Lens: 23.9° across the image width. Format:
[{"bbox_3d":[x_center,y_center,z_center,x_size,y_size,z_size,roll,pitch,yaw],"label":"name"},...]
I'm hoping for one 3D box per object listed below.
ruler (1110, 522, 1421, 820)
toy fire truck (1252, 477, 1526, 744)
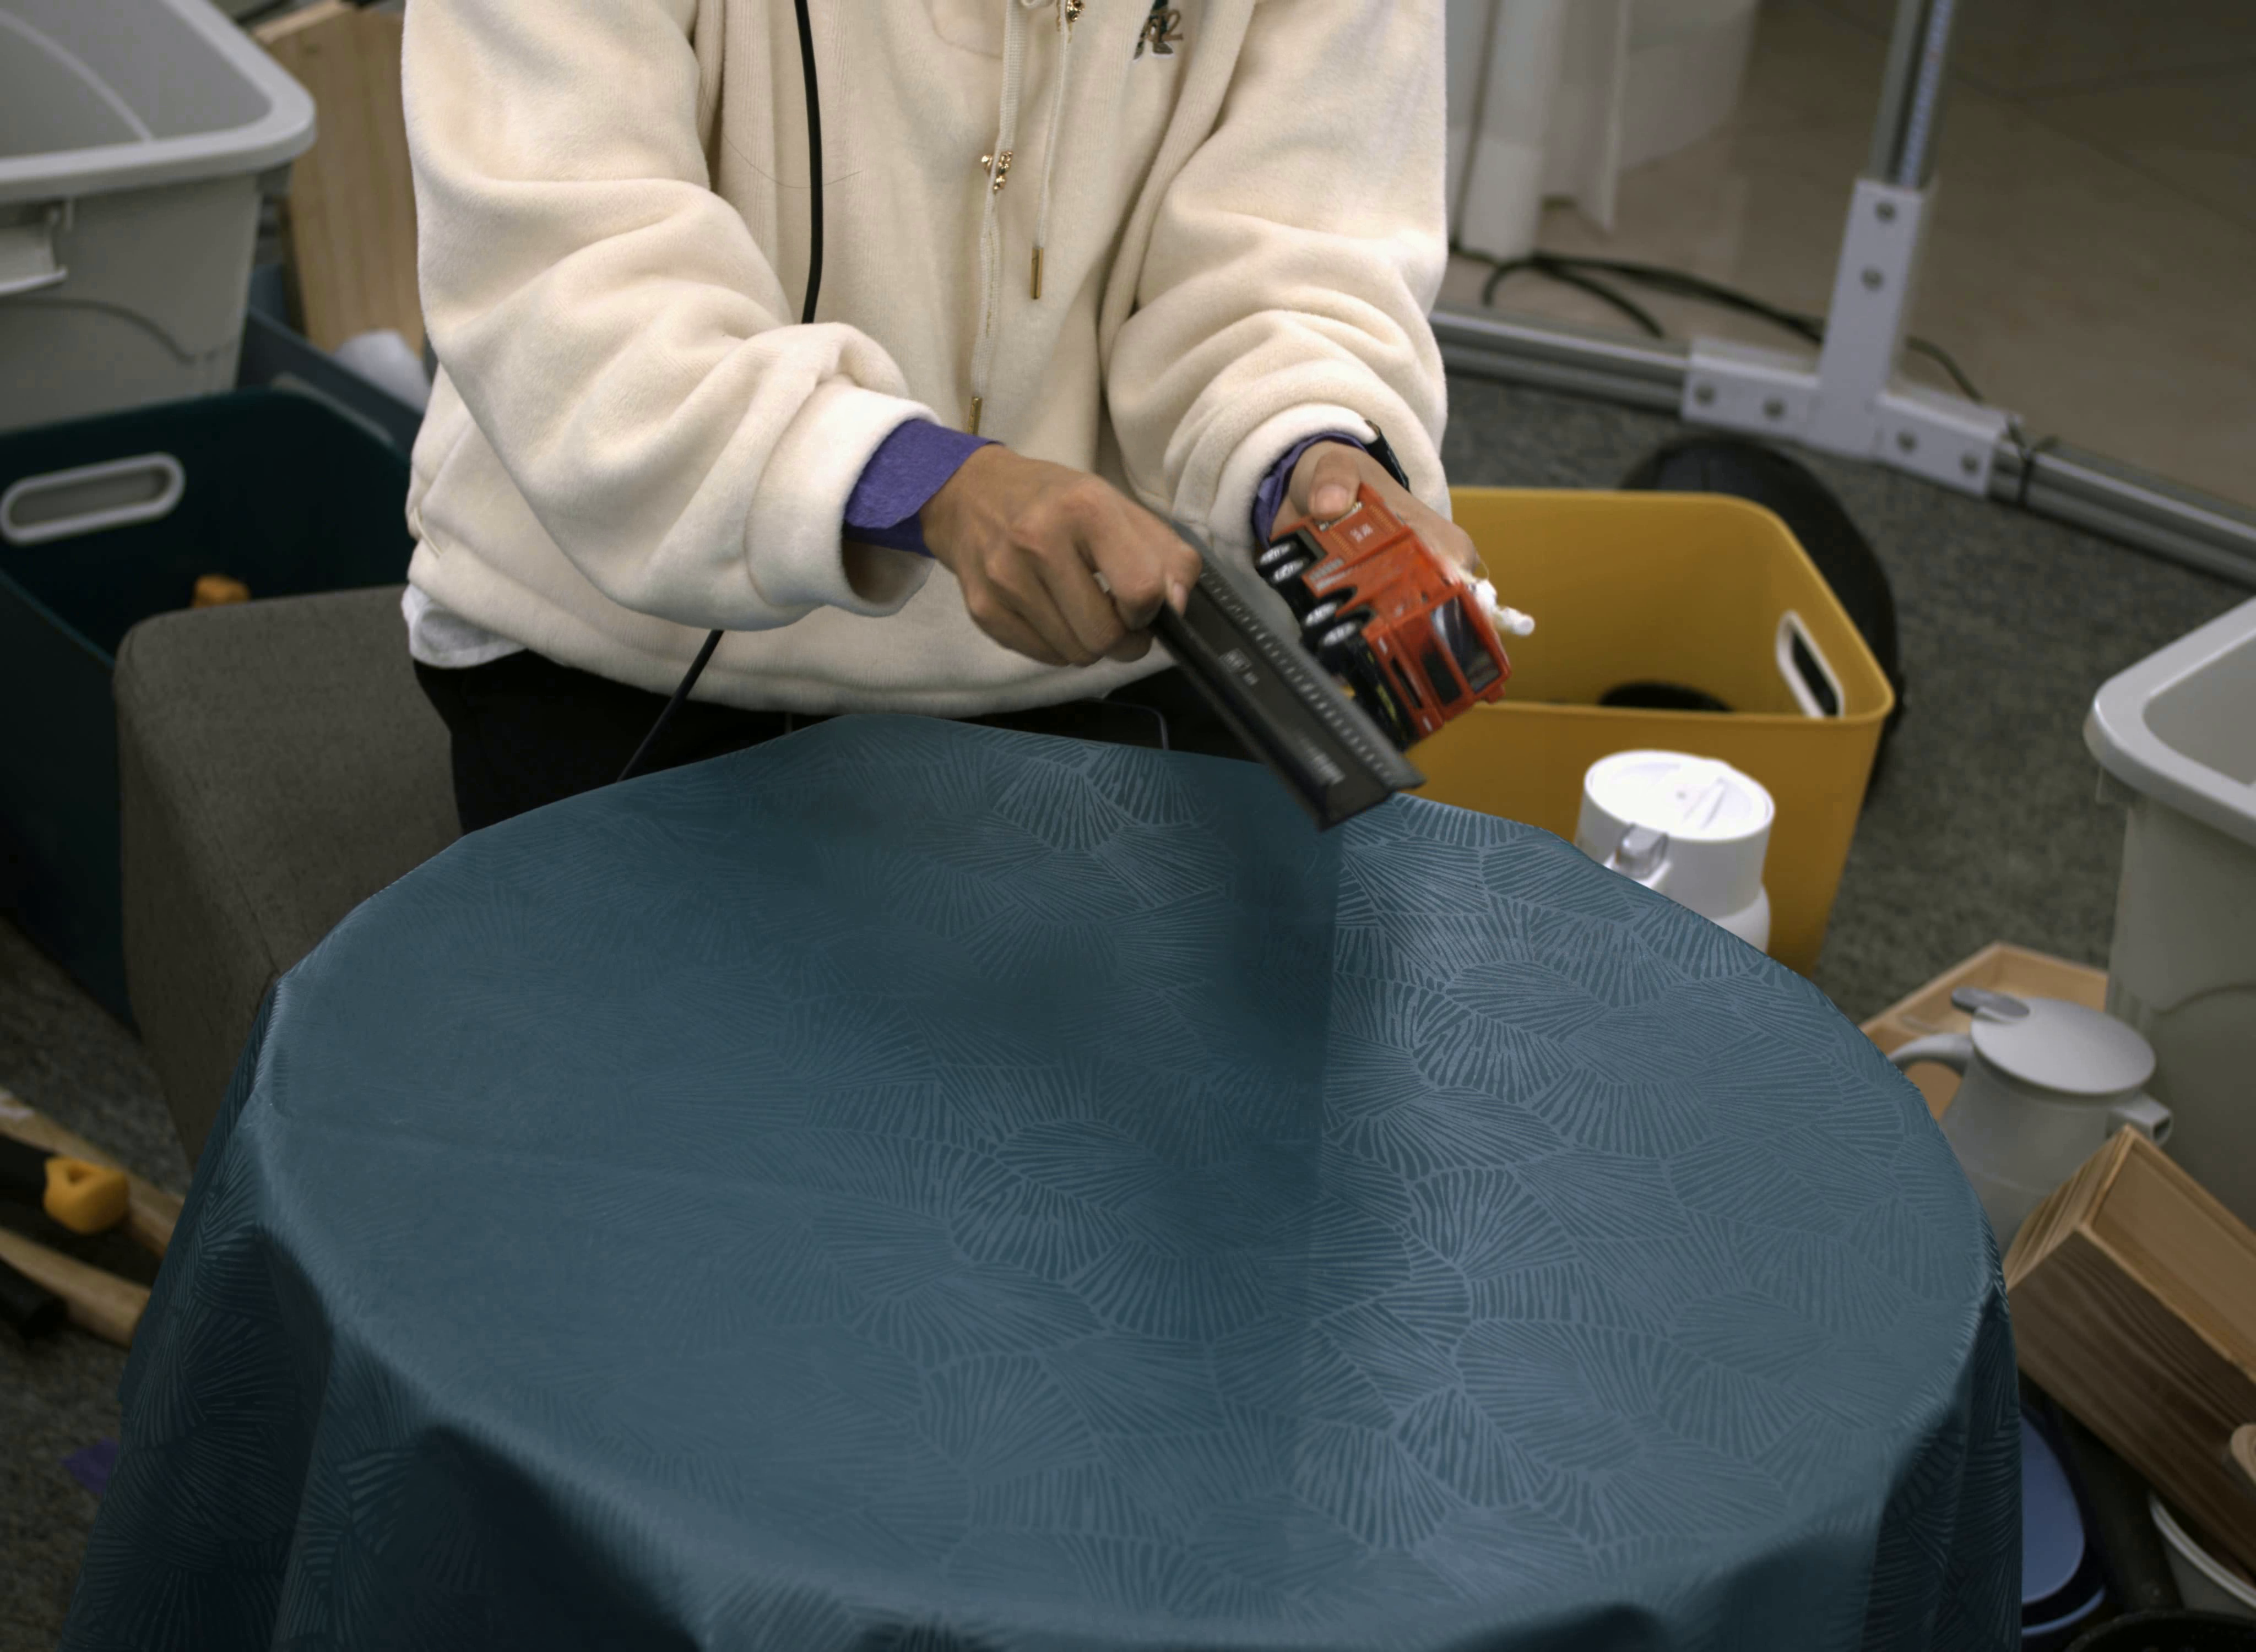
[{"bbox_3d":[0.042,-0.063,1.827,0.039,0.017,0.314,-22,22,-5],"label":"ruler"},{"bbox_3d":[0.090,-0.076,1.882,0.070,0.054,0.169,-32,18,-1],"label":"toy fire truck"}]
